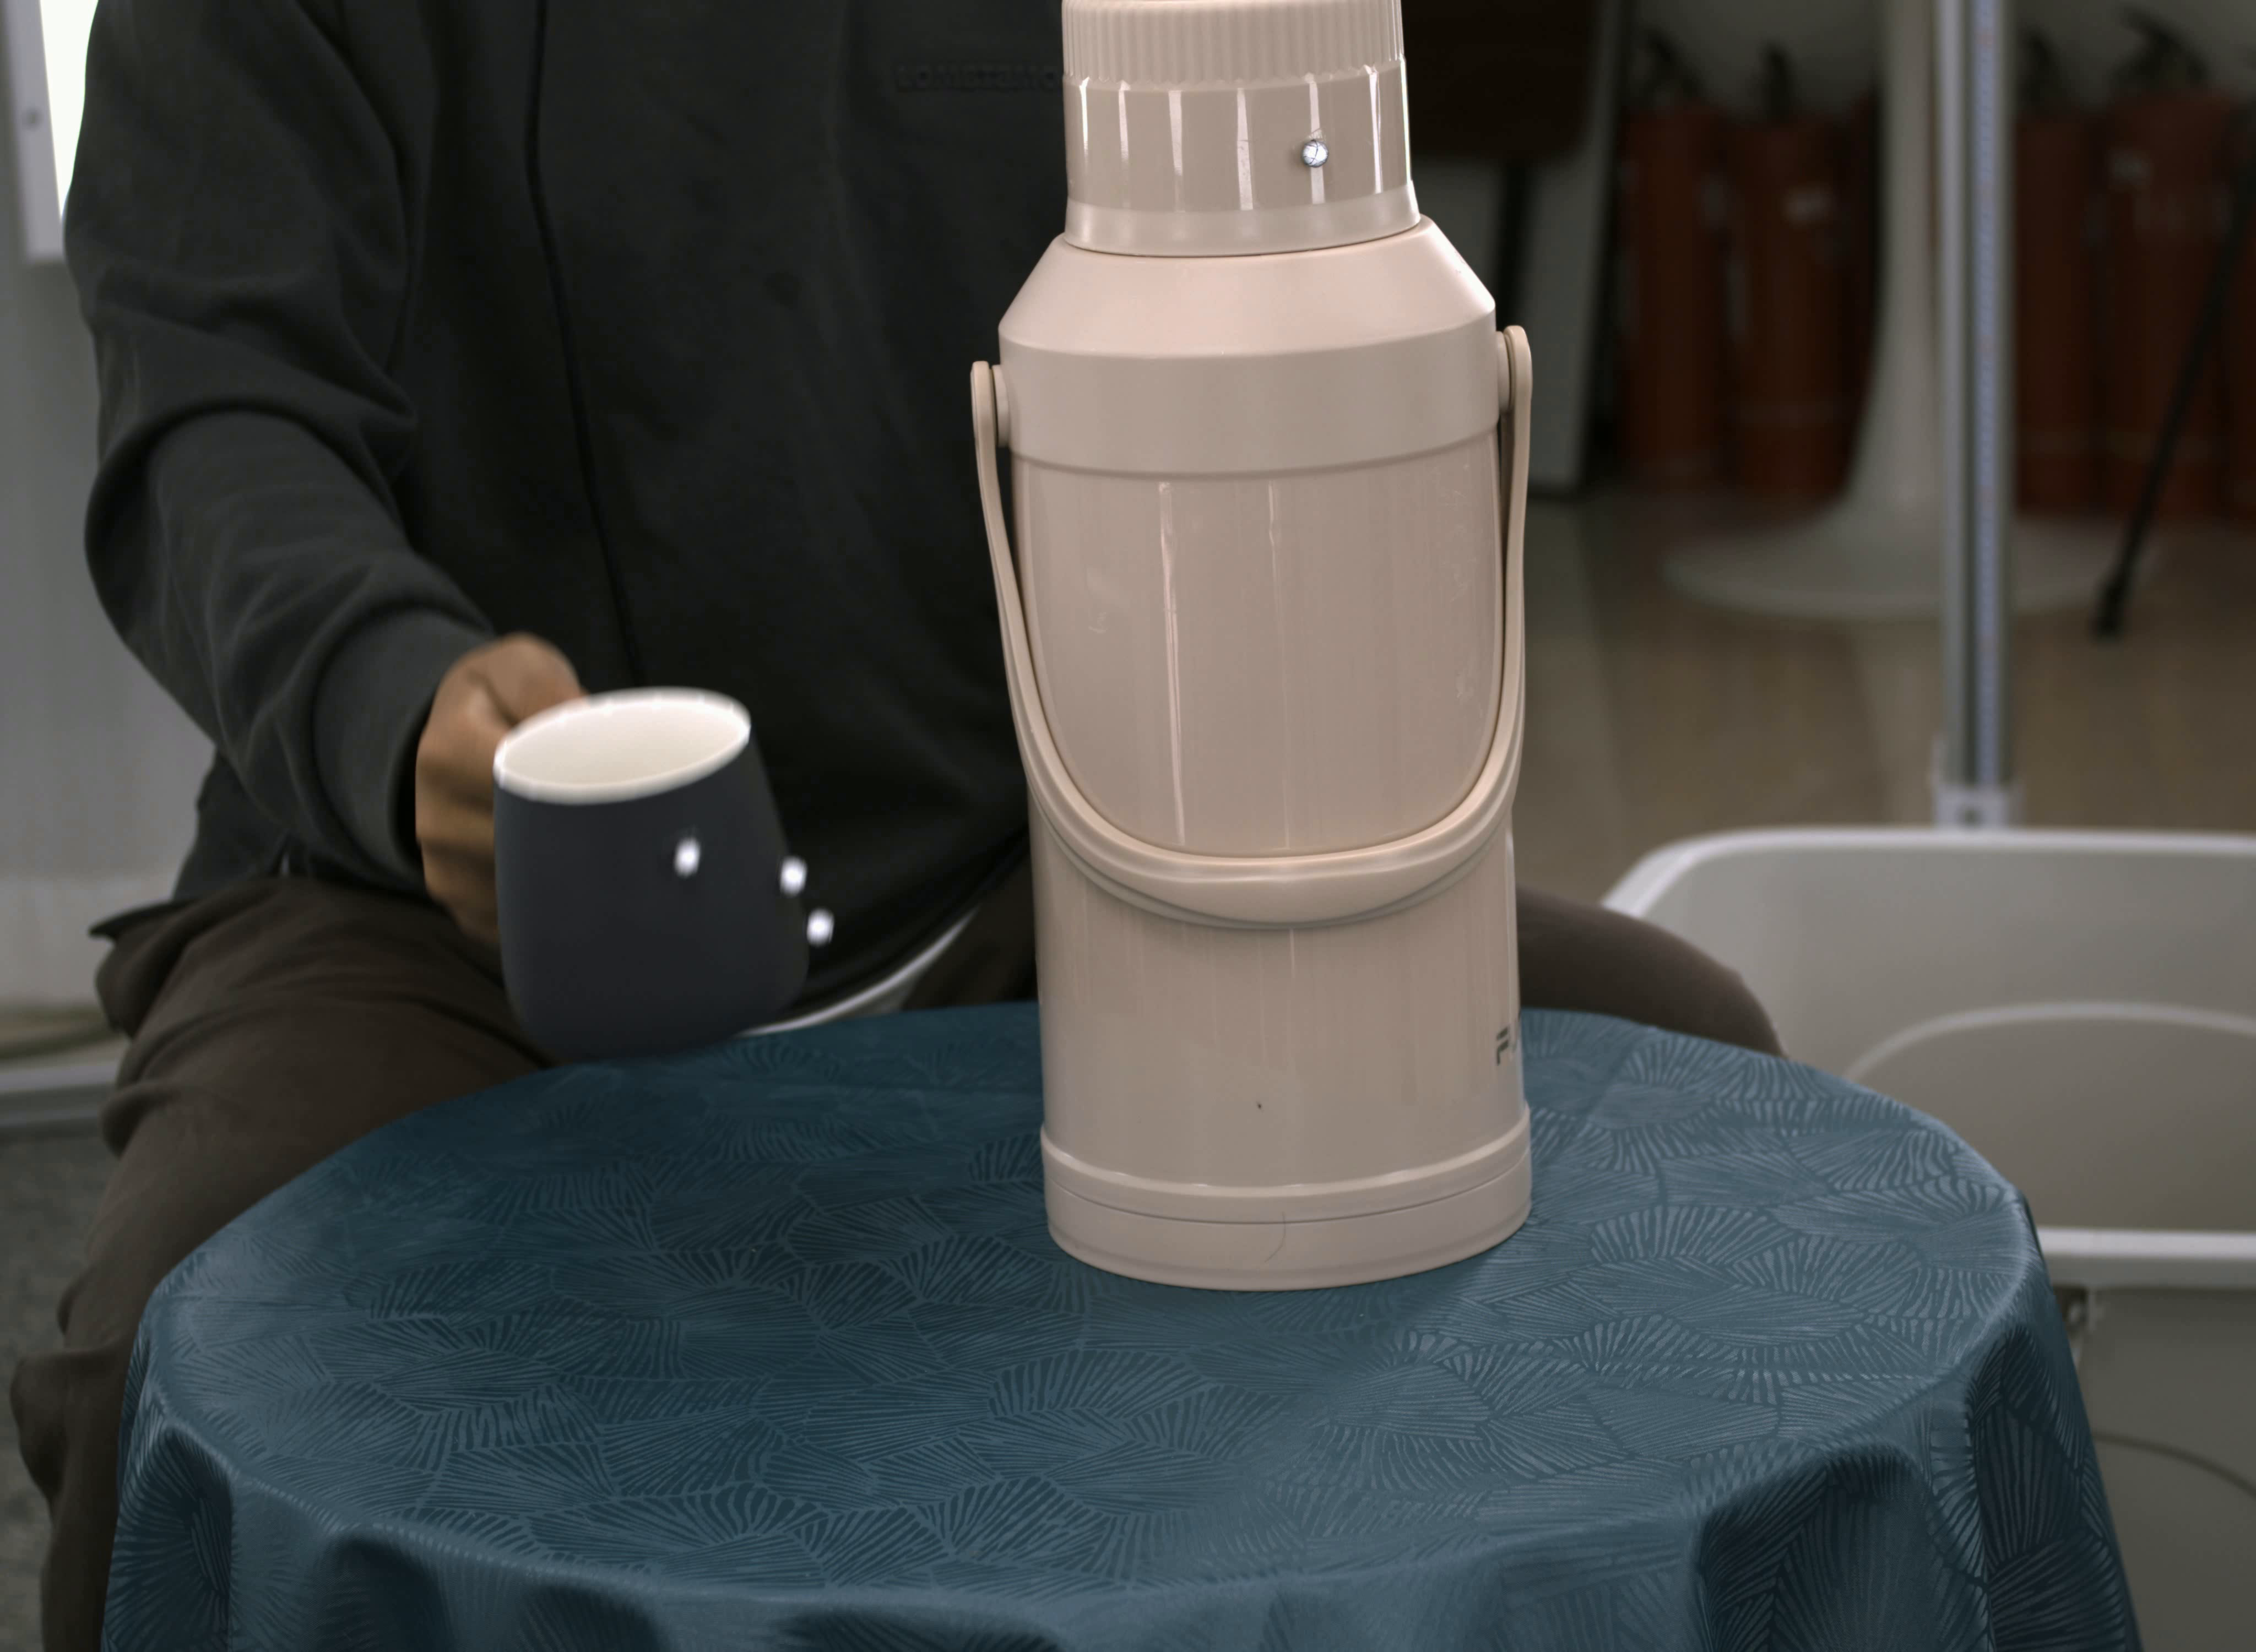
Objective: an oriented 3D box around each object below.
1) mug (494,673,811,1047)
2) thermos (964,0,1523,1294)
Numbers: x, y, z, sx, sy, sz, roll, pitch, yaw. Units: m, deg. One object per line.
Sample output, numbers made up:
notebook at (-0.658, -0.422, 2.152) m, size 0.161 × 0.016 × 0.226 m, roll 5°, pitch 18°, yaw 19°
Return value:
mug at (-0.151, 0.006, 1.639) m, size 0.092 × 0.090 × 0.124 m, roll -16°, pitch 23°, yaw -20°
thermos at (0.039, -0.072, 1.710) m, size 0.173 × 0.411 × 0.208 m, roll -5°, pitch 14°, yaw -4°
